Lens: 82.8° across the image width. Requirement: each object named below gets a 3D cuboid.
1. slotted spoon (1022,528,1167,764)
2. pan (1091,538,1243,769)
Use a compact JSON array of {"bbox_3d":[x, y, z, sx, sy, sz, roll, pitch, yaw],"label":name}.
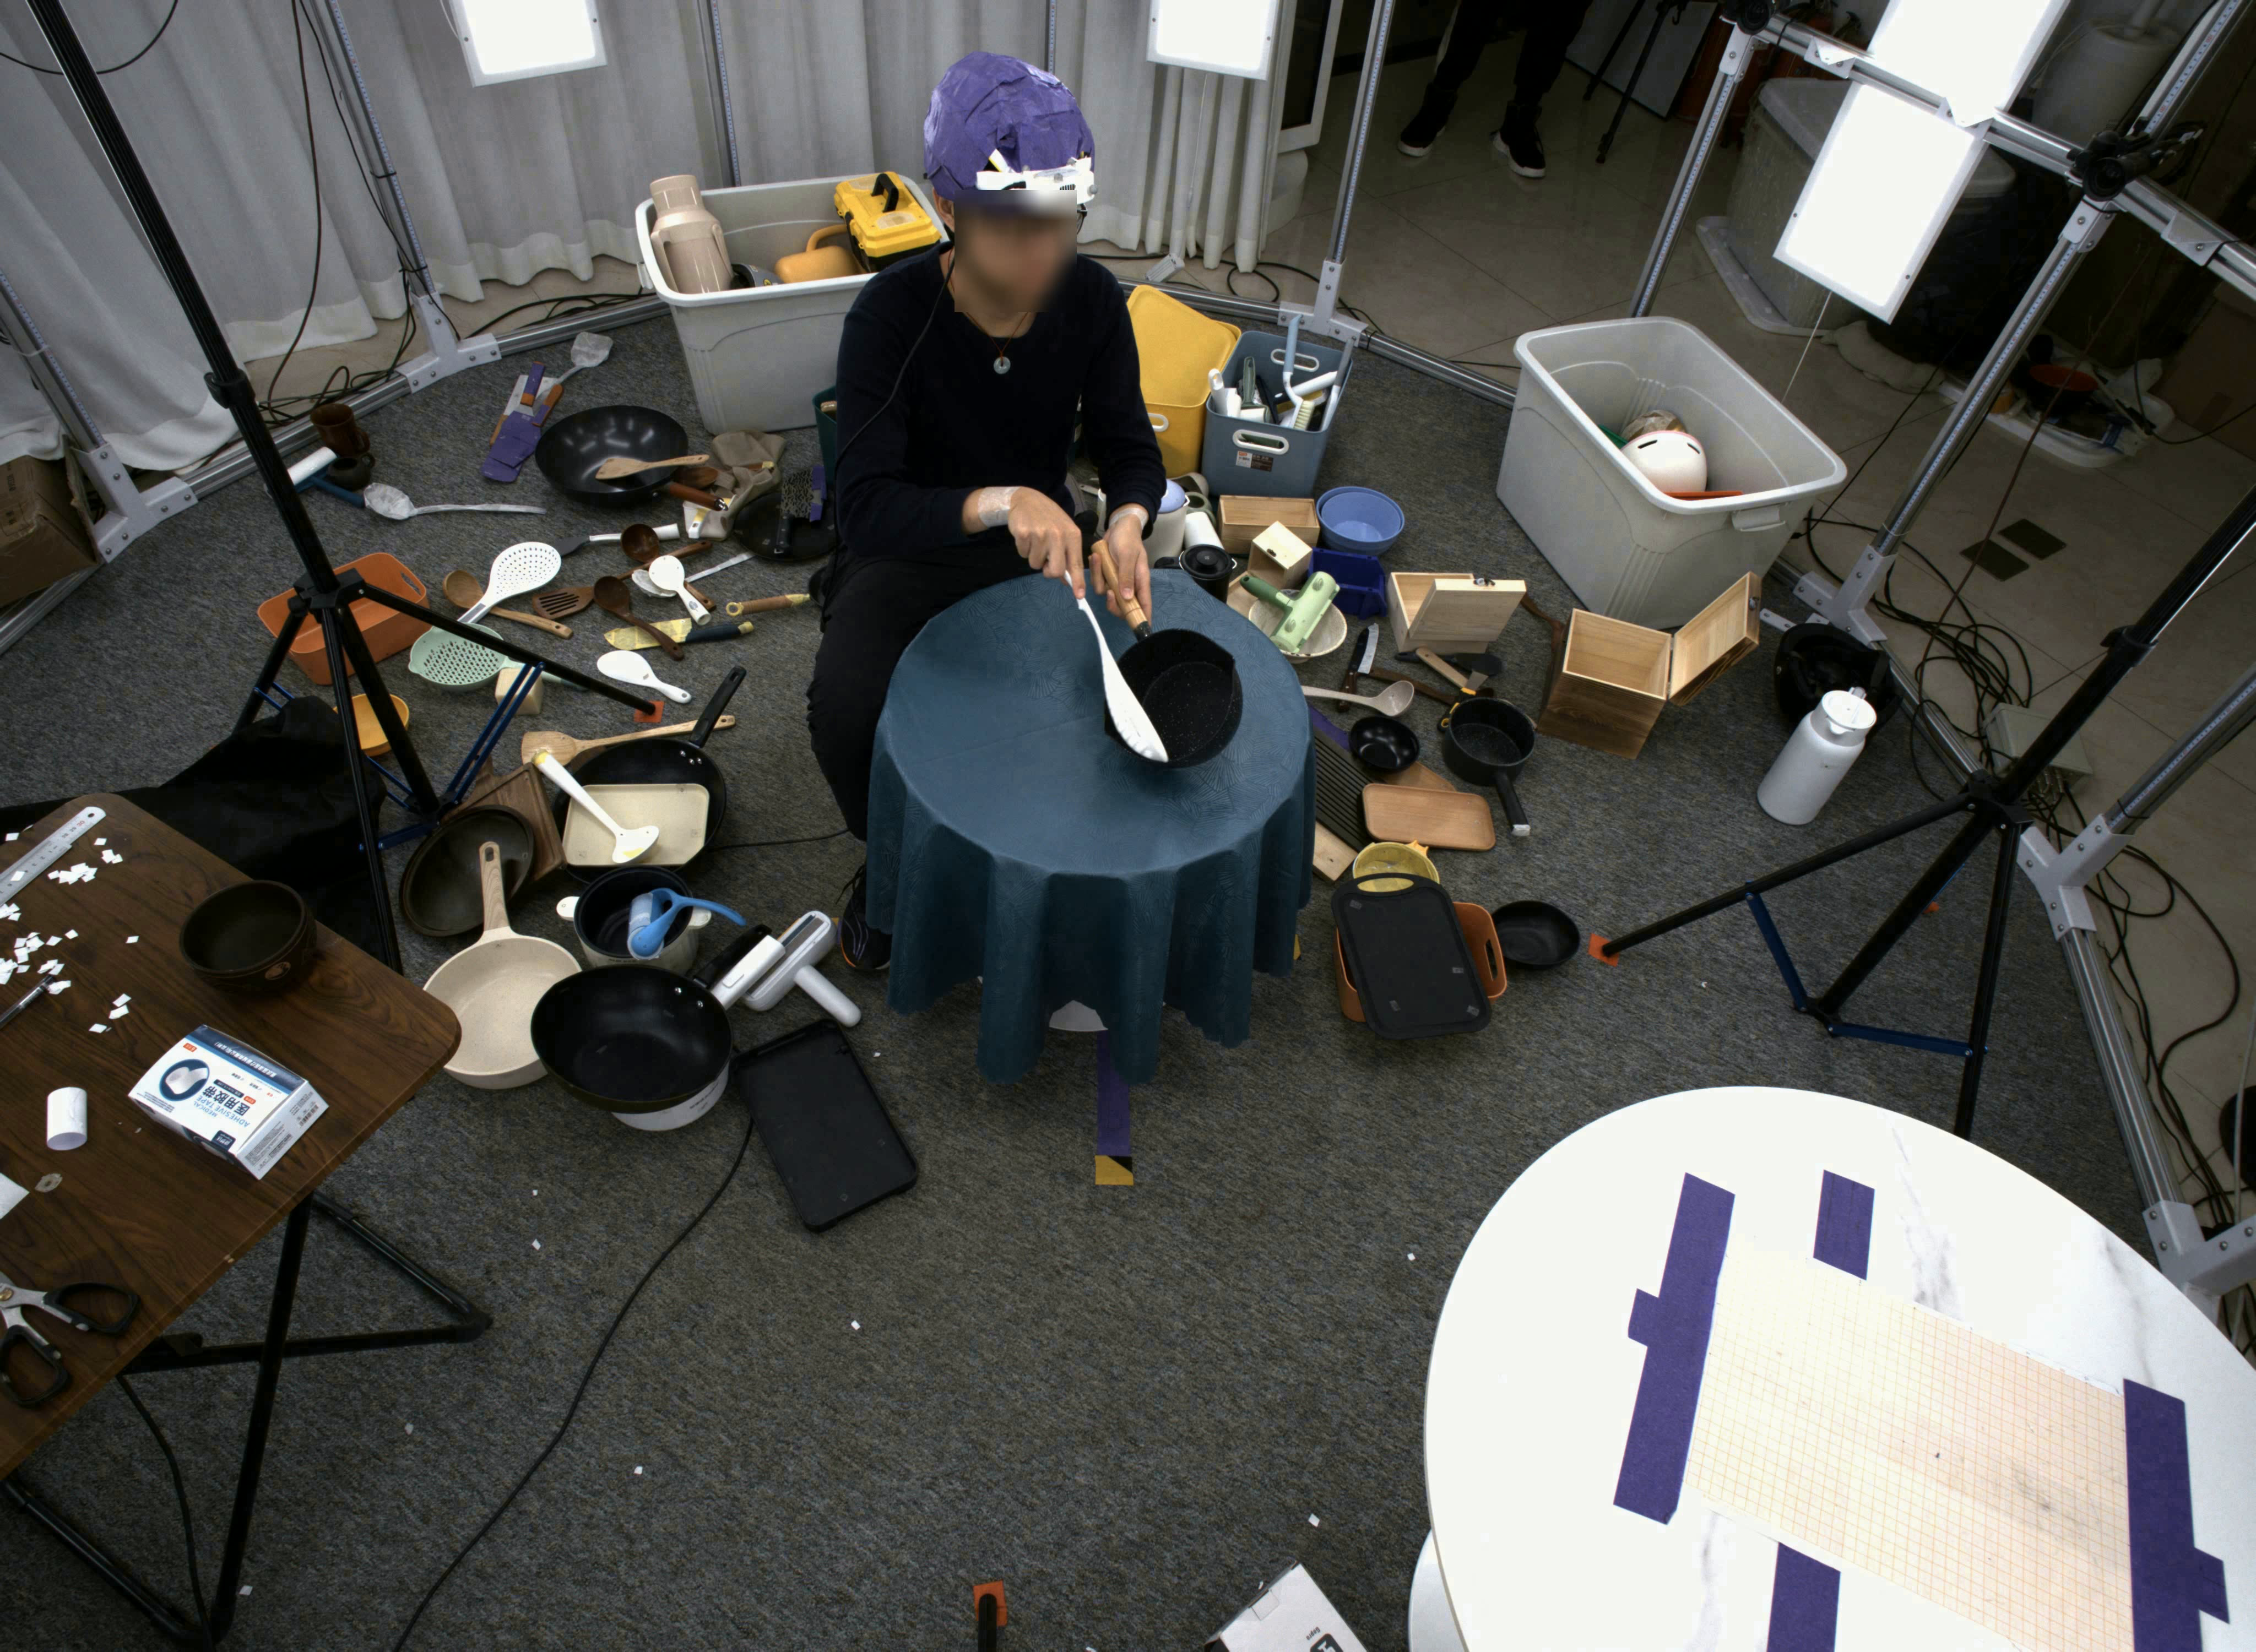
[{"bbox_3d":[-0.042,-0.230,1.642,0.050,0.136,0.349,-24,86,8],"label":"slotted spoon"},{"bbox_3d":[0.034,-0.234,1.739,0.206,0.107,0.349,-30,66,15],"label":"pan"}]
